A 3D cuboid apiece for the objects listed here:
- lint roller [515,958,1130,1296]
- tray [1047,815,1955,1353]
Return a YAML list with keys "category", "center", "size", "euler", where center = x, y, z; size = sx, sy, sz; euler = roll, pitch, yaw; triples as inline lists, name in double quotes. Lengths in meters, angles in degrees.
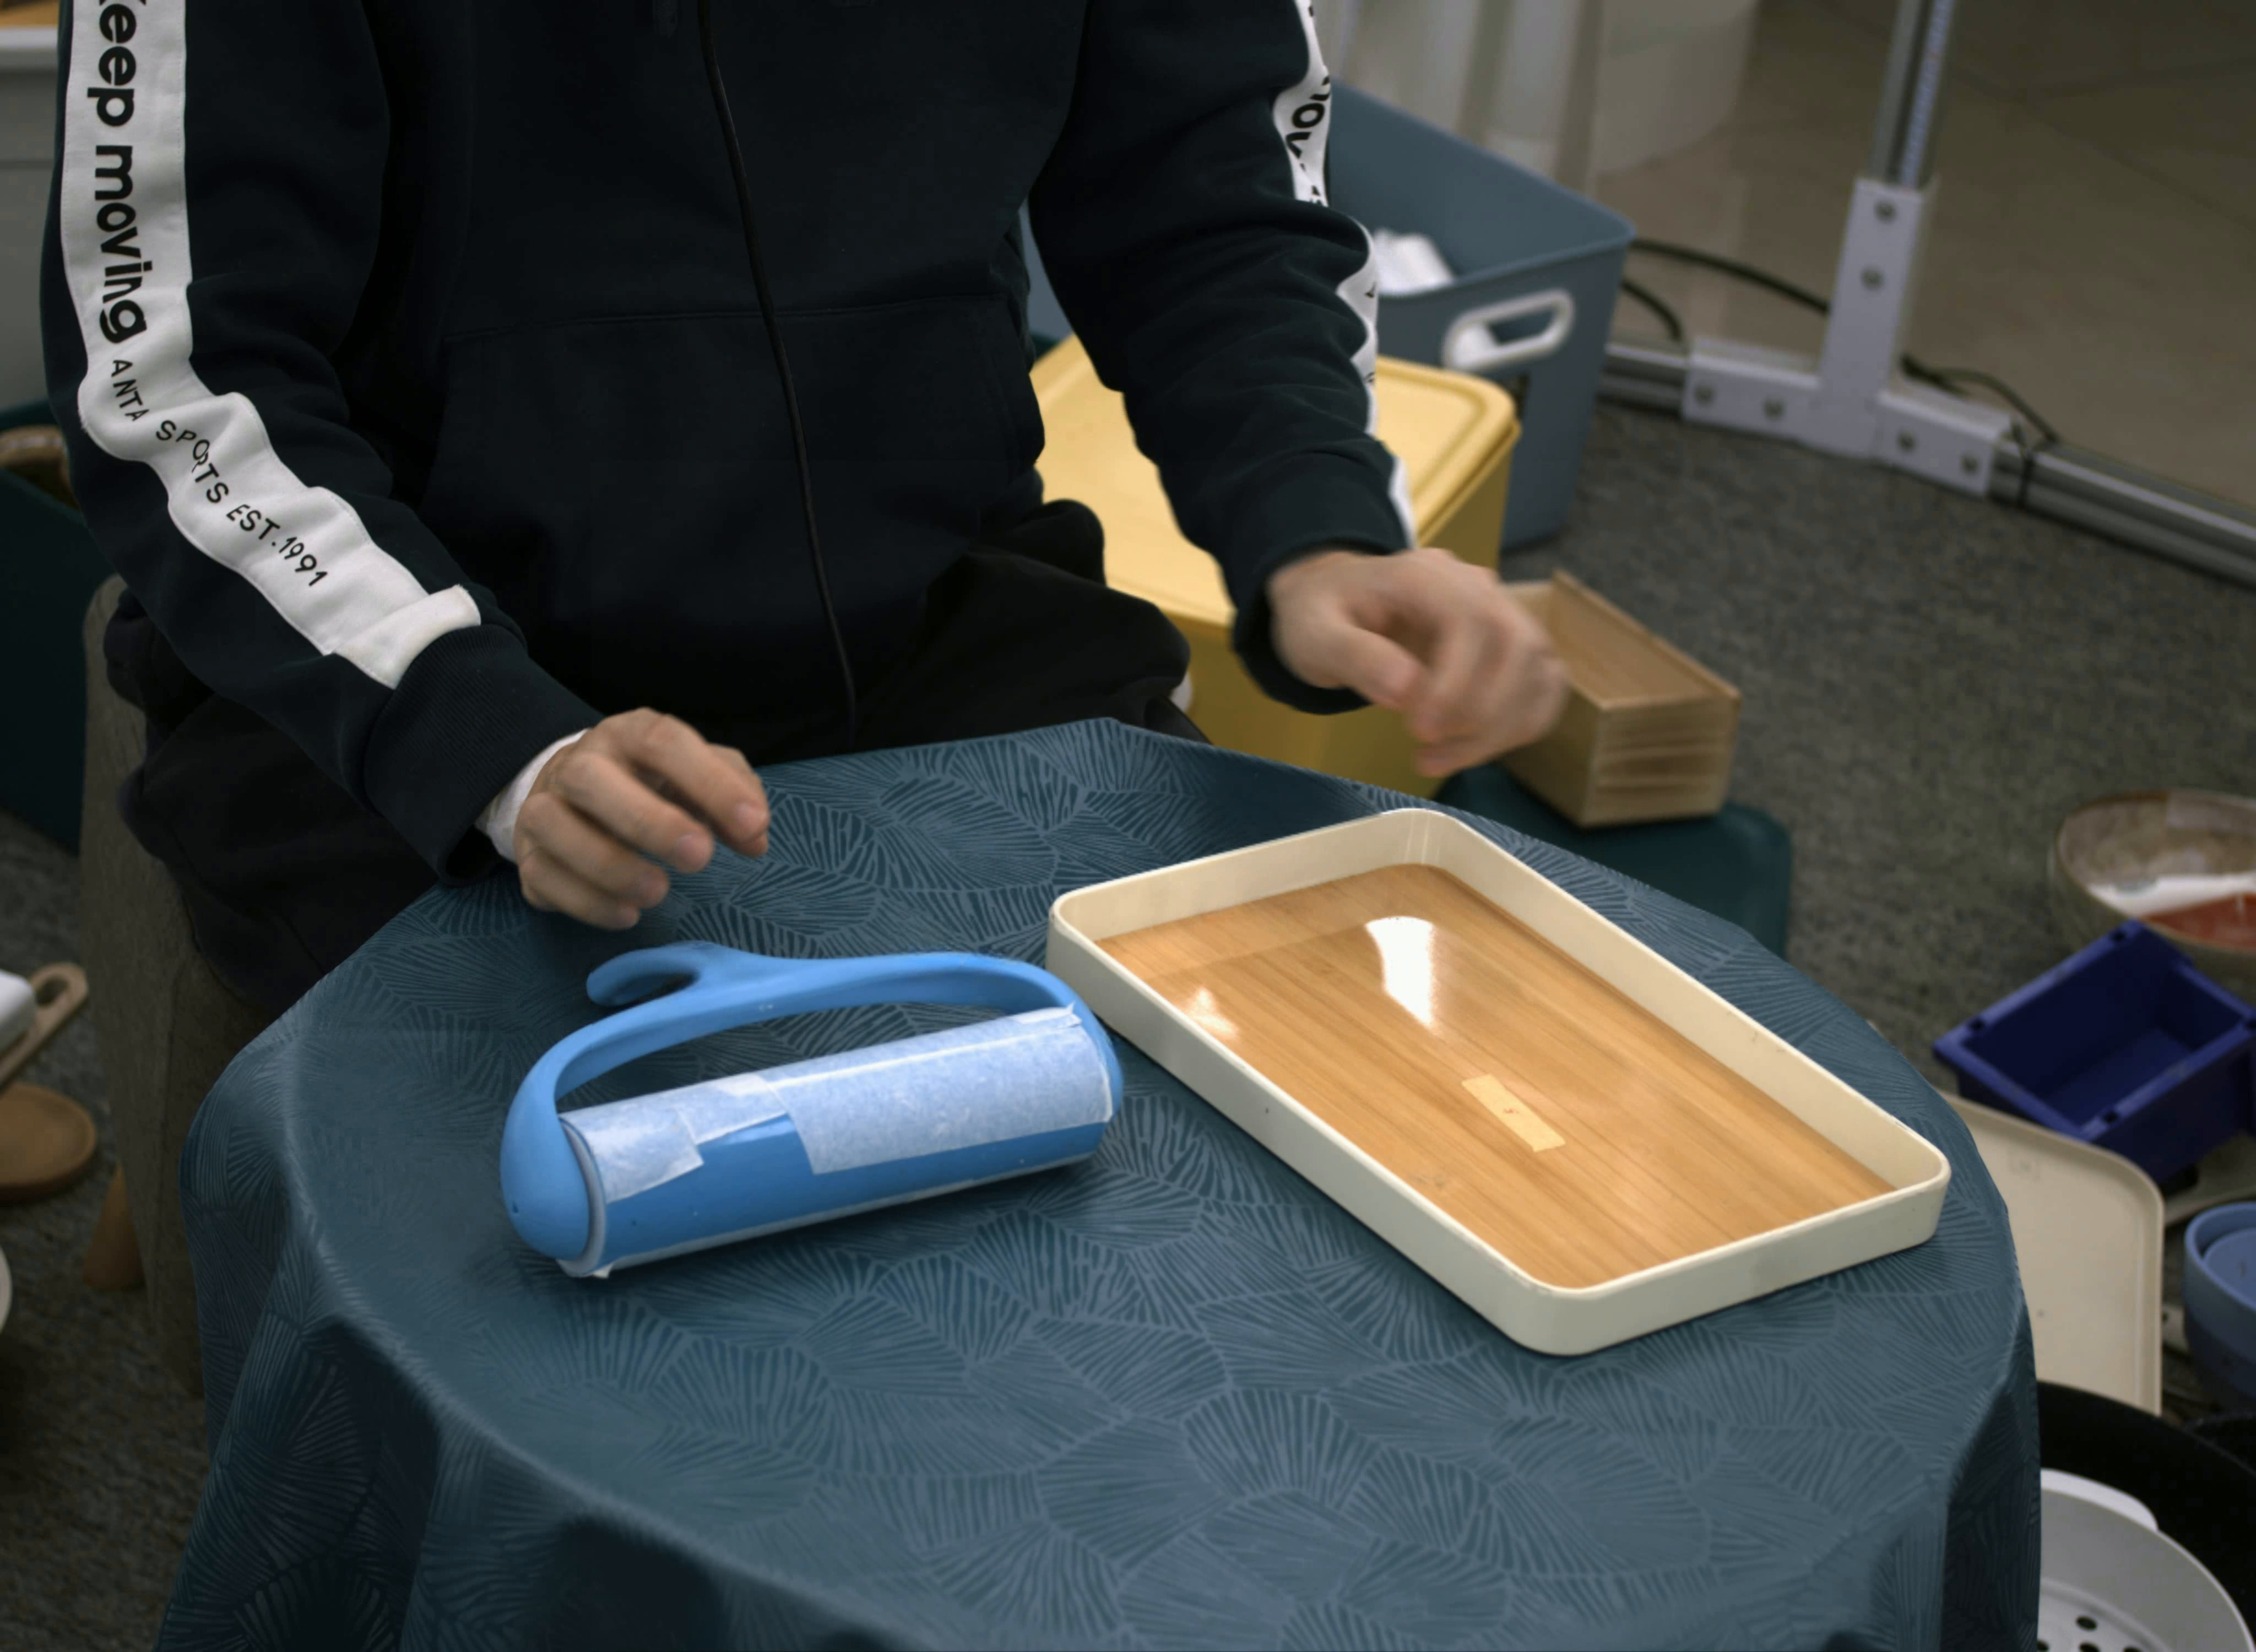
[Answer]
- category: "lint roller"
  center: [-0.132, 0.080, 1.796]
  size: [0.227, 0.067, 0.182]
  euler: [-16, 35, -33]
- category: "tray"
  center: [0.126, 0.085, 1.874]
  size: [0.190, 0.027, 0.303]
  euler: [-13, 33, -34]
